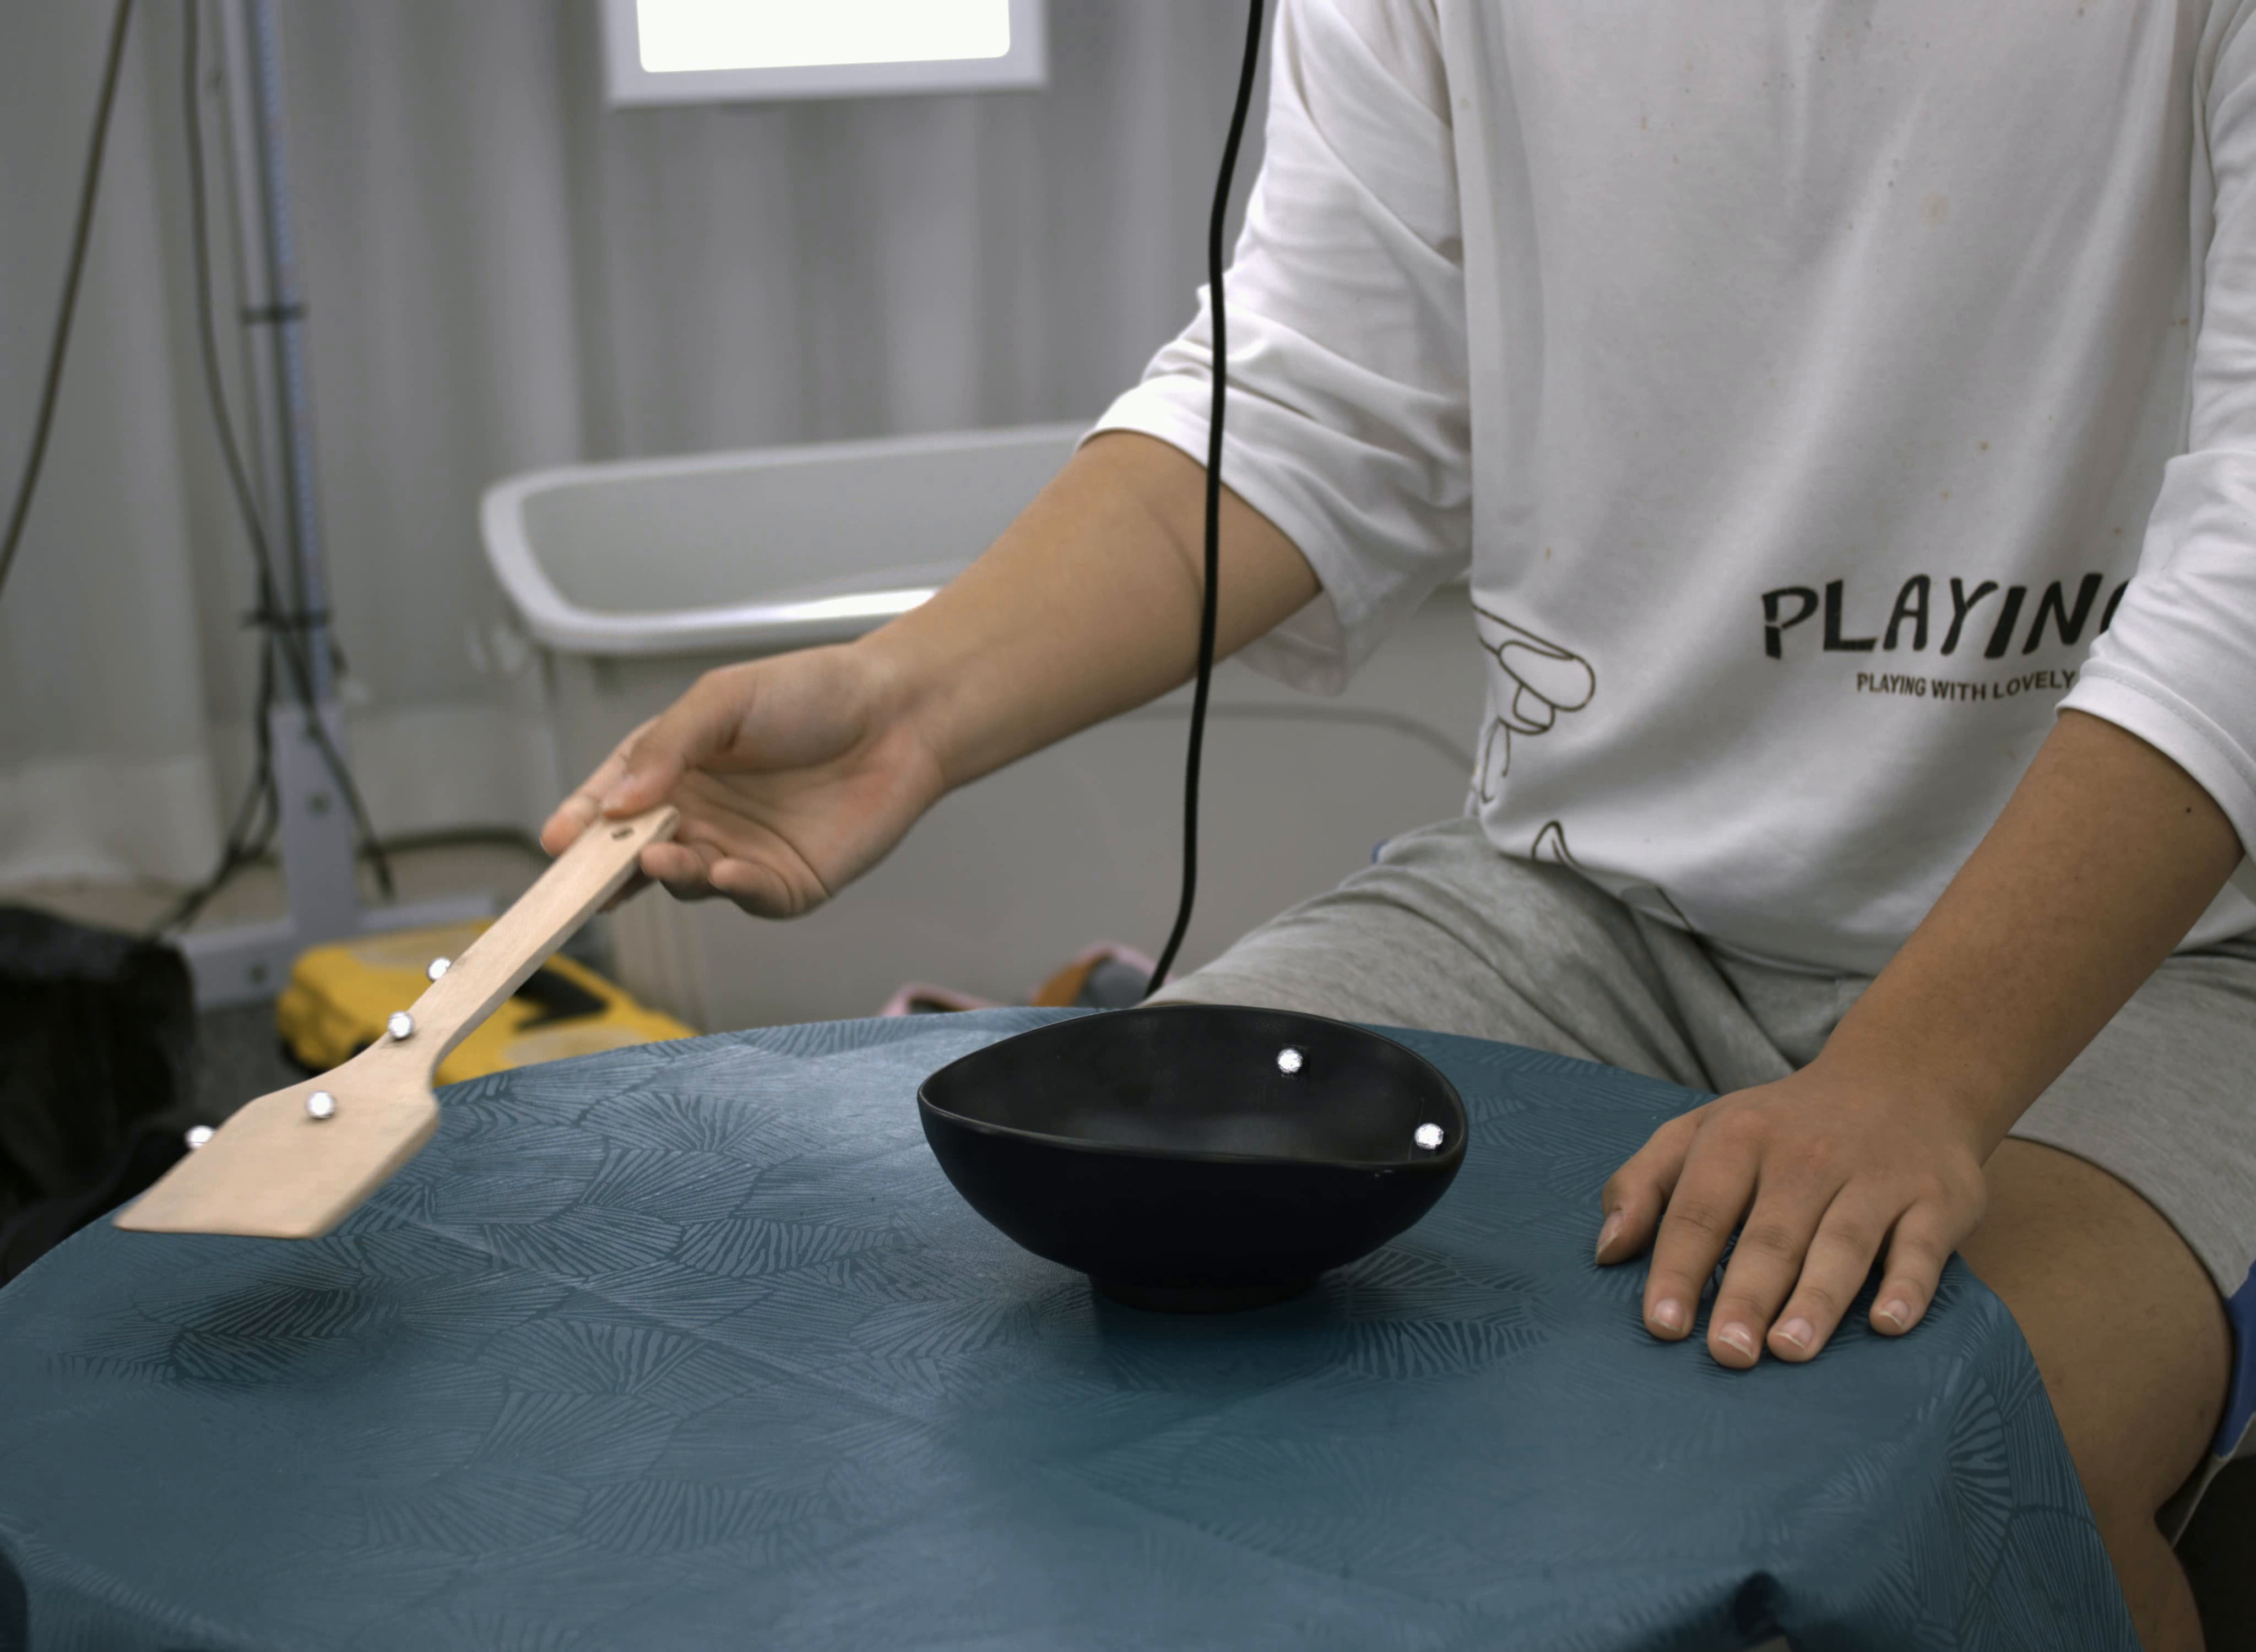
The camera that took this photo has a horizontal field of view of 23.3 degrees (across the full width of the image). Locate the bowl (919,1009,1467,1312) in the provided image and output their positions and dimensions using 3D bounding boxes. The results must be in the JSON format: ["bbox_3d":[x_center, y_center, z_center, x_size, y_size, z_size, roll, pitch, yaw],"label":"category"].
[{"bbox_3d":[0.020,0.104,1.632,0.170,0.066,0.137,5,16,21],"label":"bowl"}]

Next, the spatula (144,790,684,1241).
[{"bbox_3d":[-0.210,0.056,1.718,0.072,0.010,0.295,0,27,23],"label":"spatula"}]
